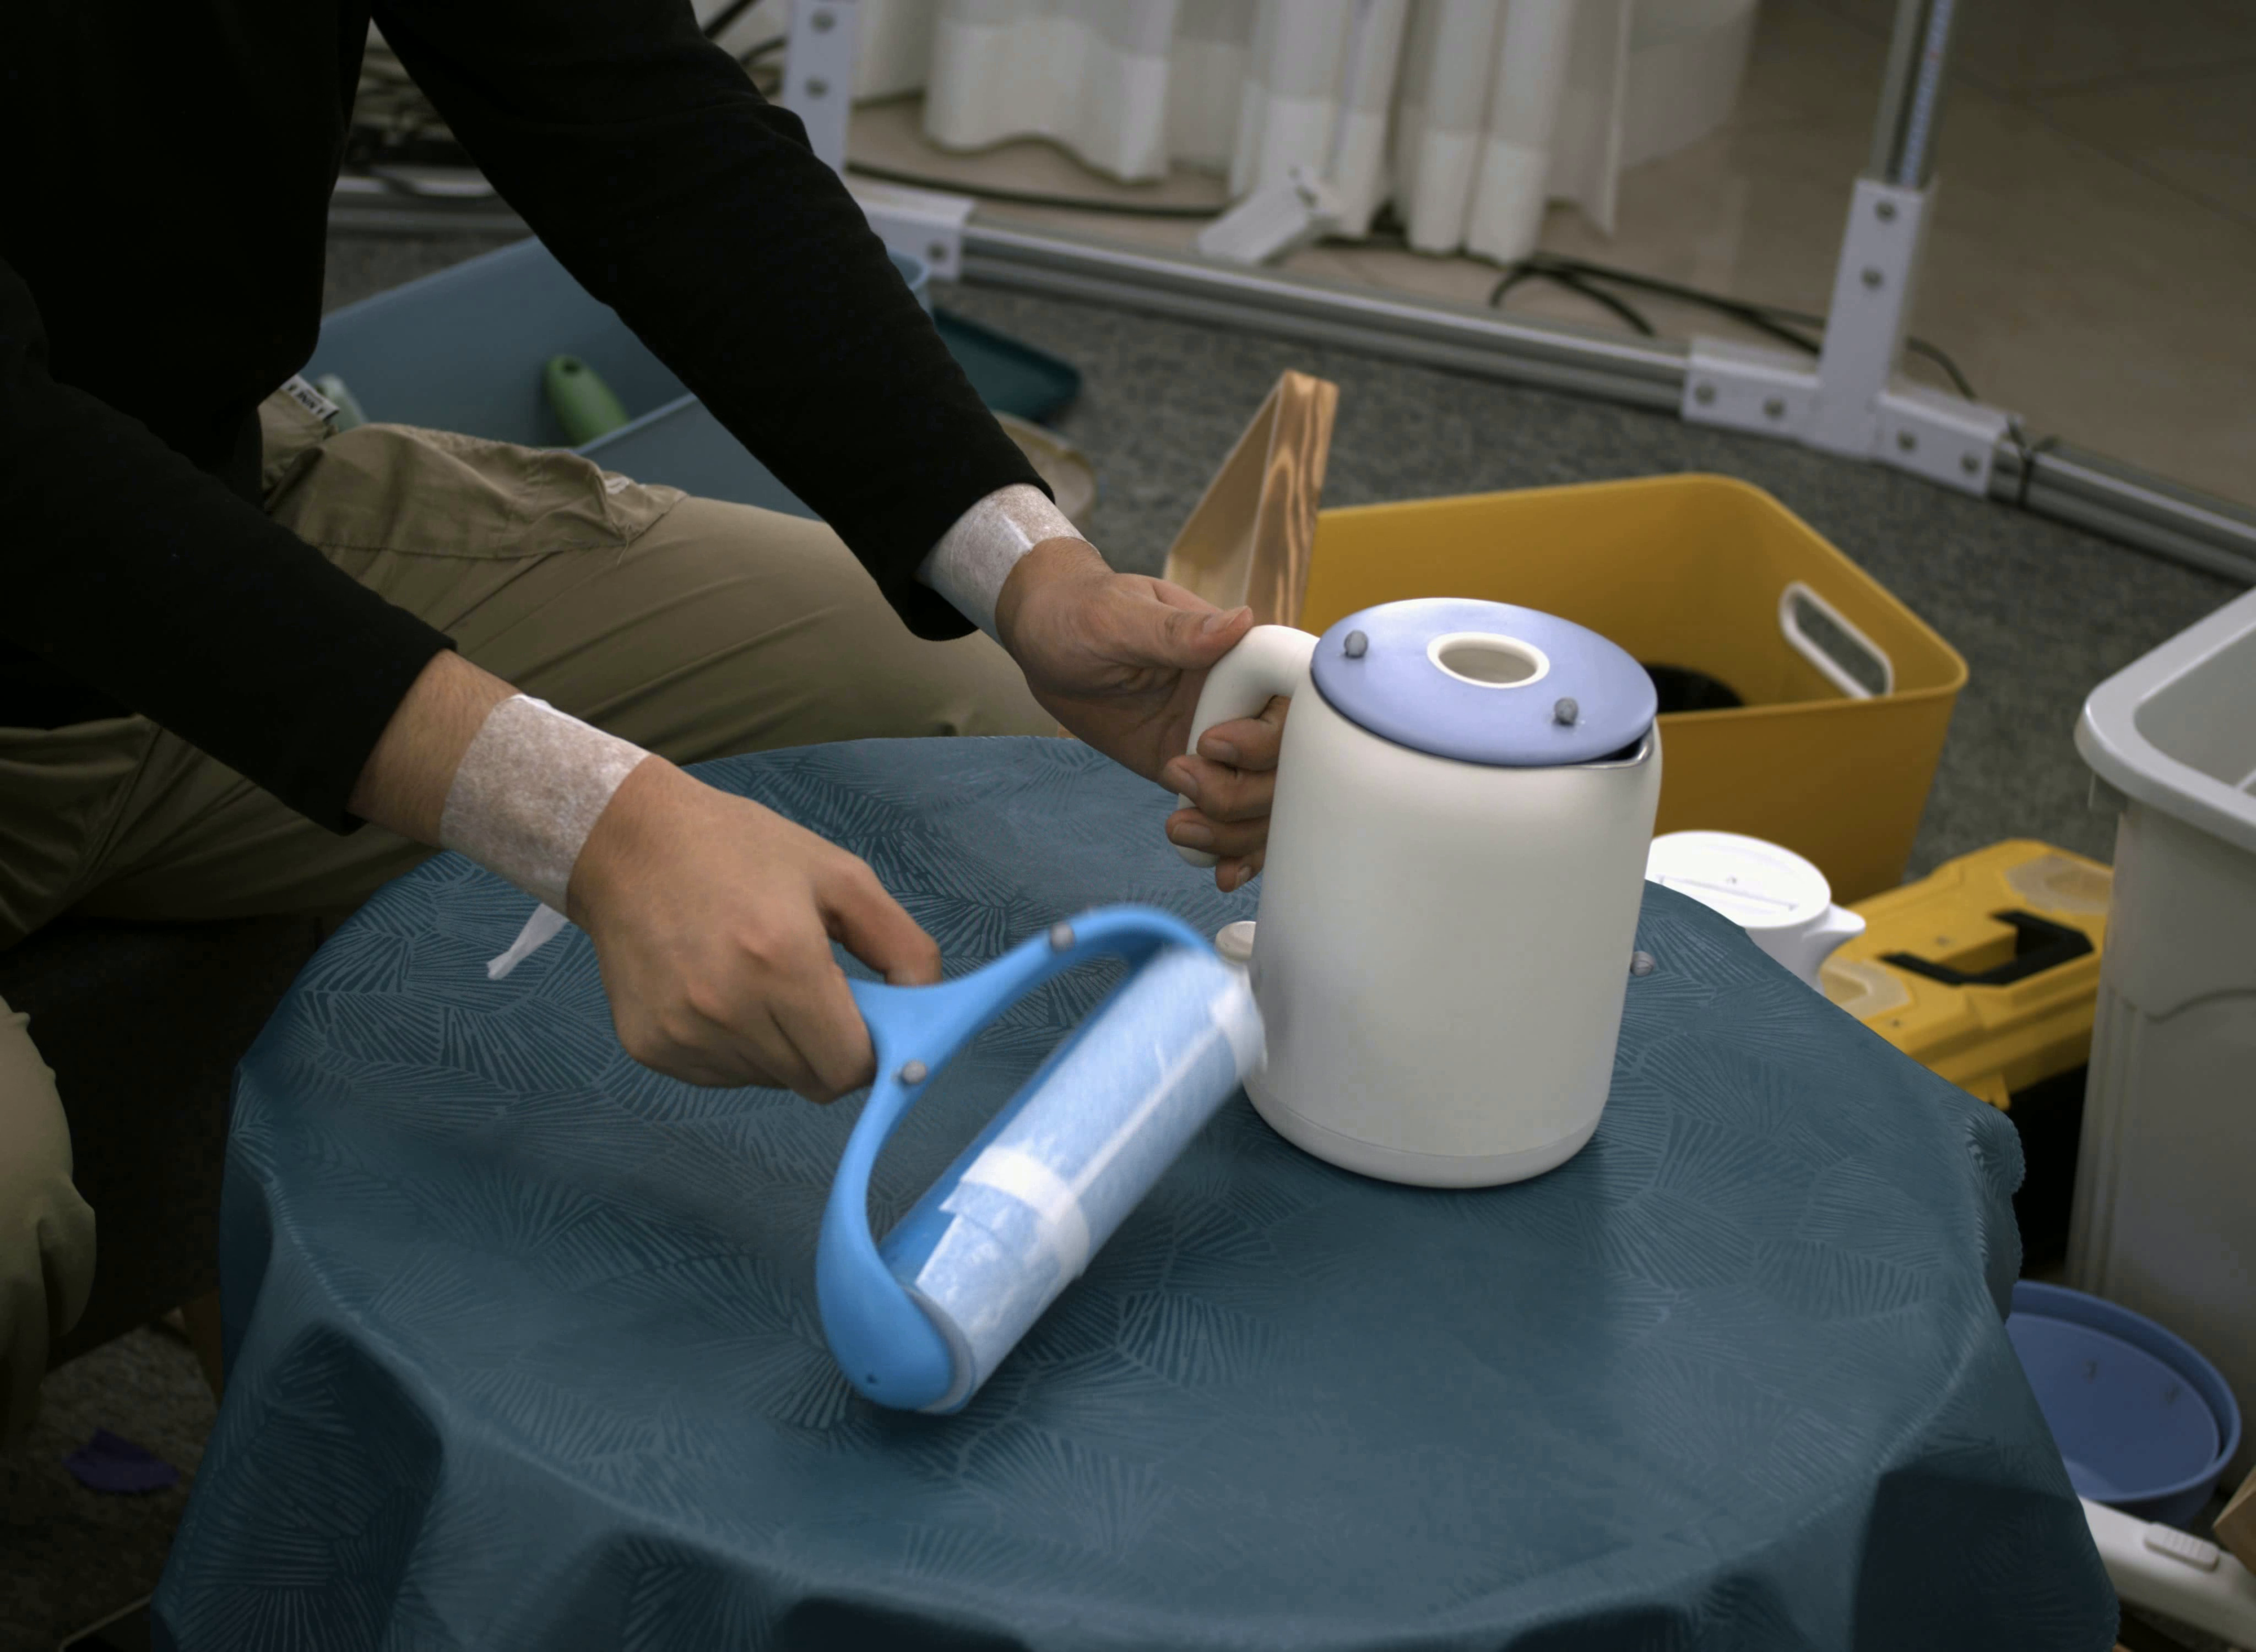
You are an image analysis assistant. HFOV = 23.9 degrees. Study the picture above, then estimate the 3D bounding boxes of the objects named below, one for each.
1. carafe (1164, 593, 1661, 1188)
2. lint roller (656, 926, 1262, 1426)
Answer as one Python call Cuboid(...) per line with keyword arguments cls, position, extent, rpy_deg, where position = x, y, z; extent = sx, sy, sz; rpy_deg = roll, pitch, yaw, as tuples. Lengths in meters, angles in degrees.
Cuboid(cls="carafe", position=(0.093, 0.013, 1.850), extent=(0.192, 0.182, 0.131), rpy_deg=(23, 30, 33))
Cuboid(cls="lint roller", position=(-0.075, 0.086, 1.733), extent=(0.180, 0.067, 0.229), rpy_deg=(32, 45, 11))
